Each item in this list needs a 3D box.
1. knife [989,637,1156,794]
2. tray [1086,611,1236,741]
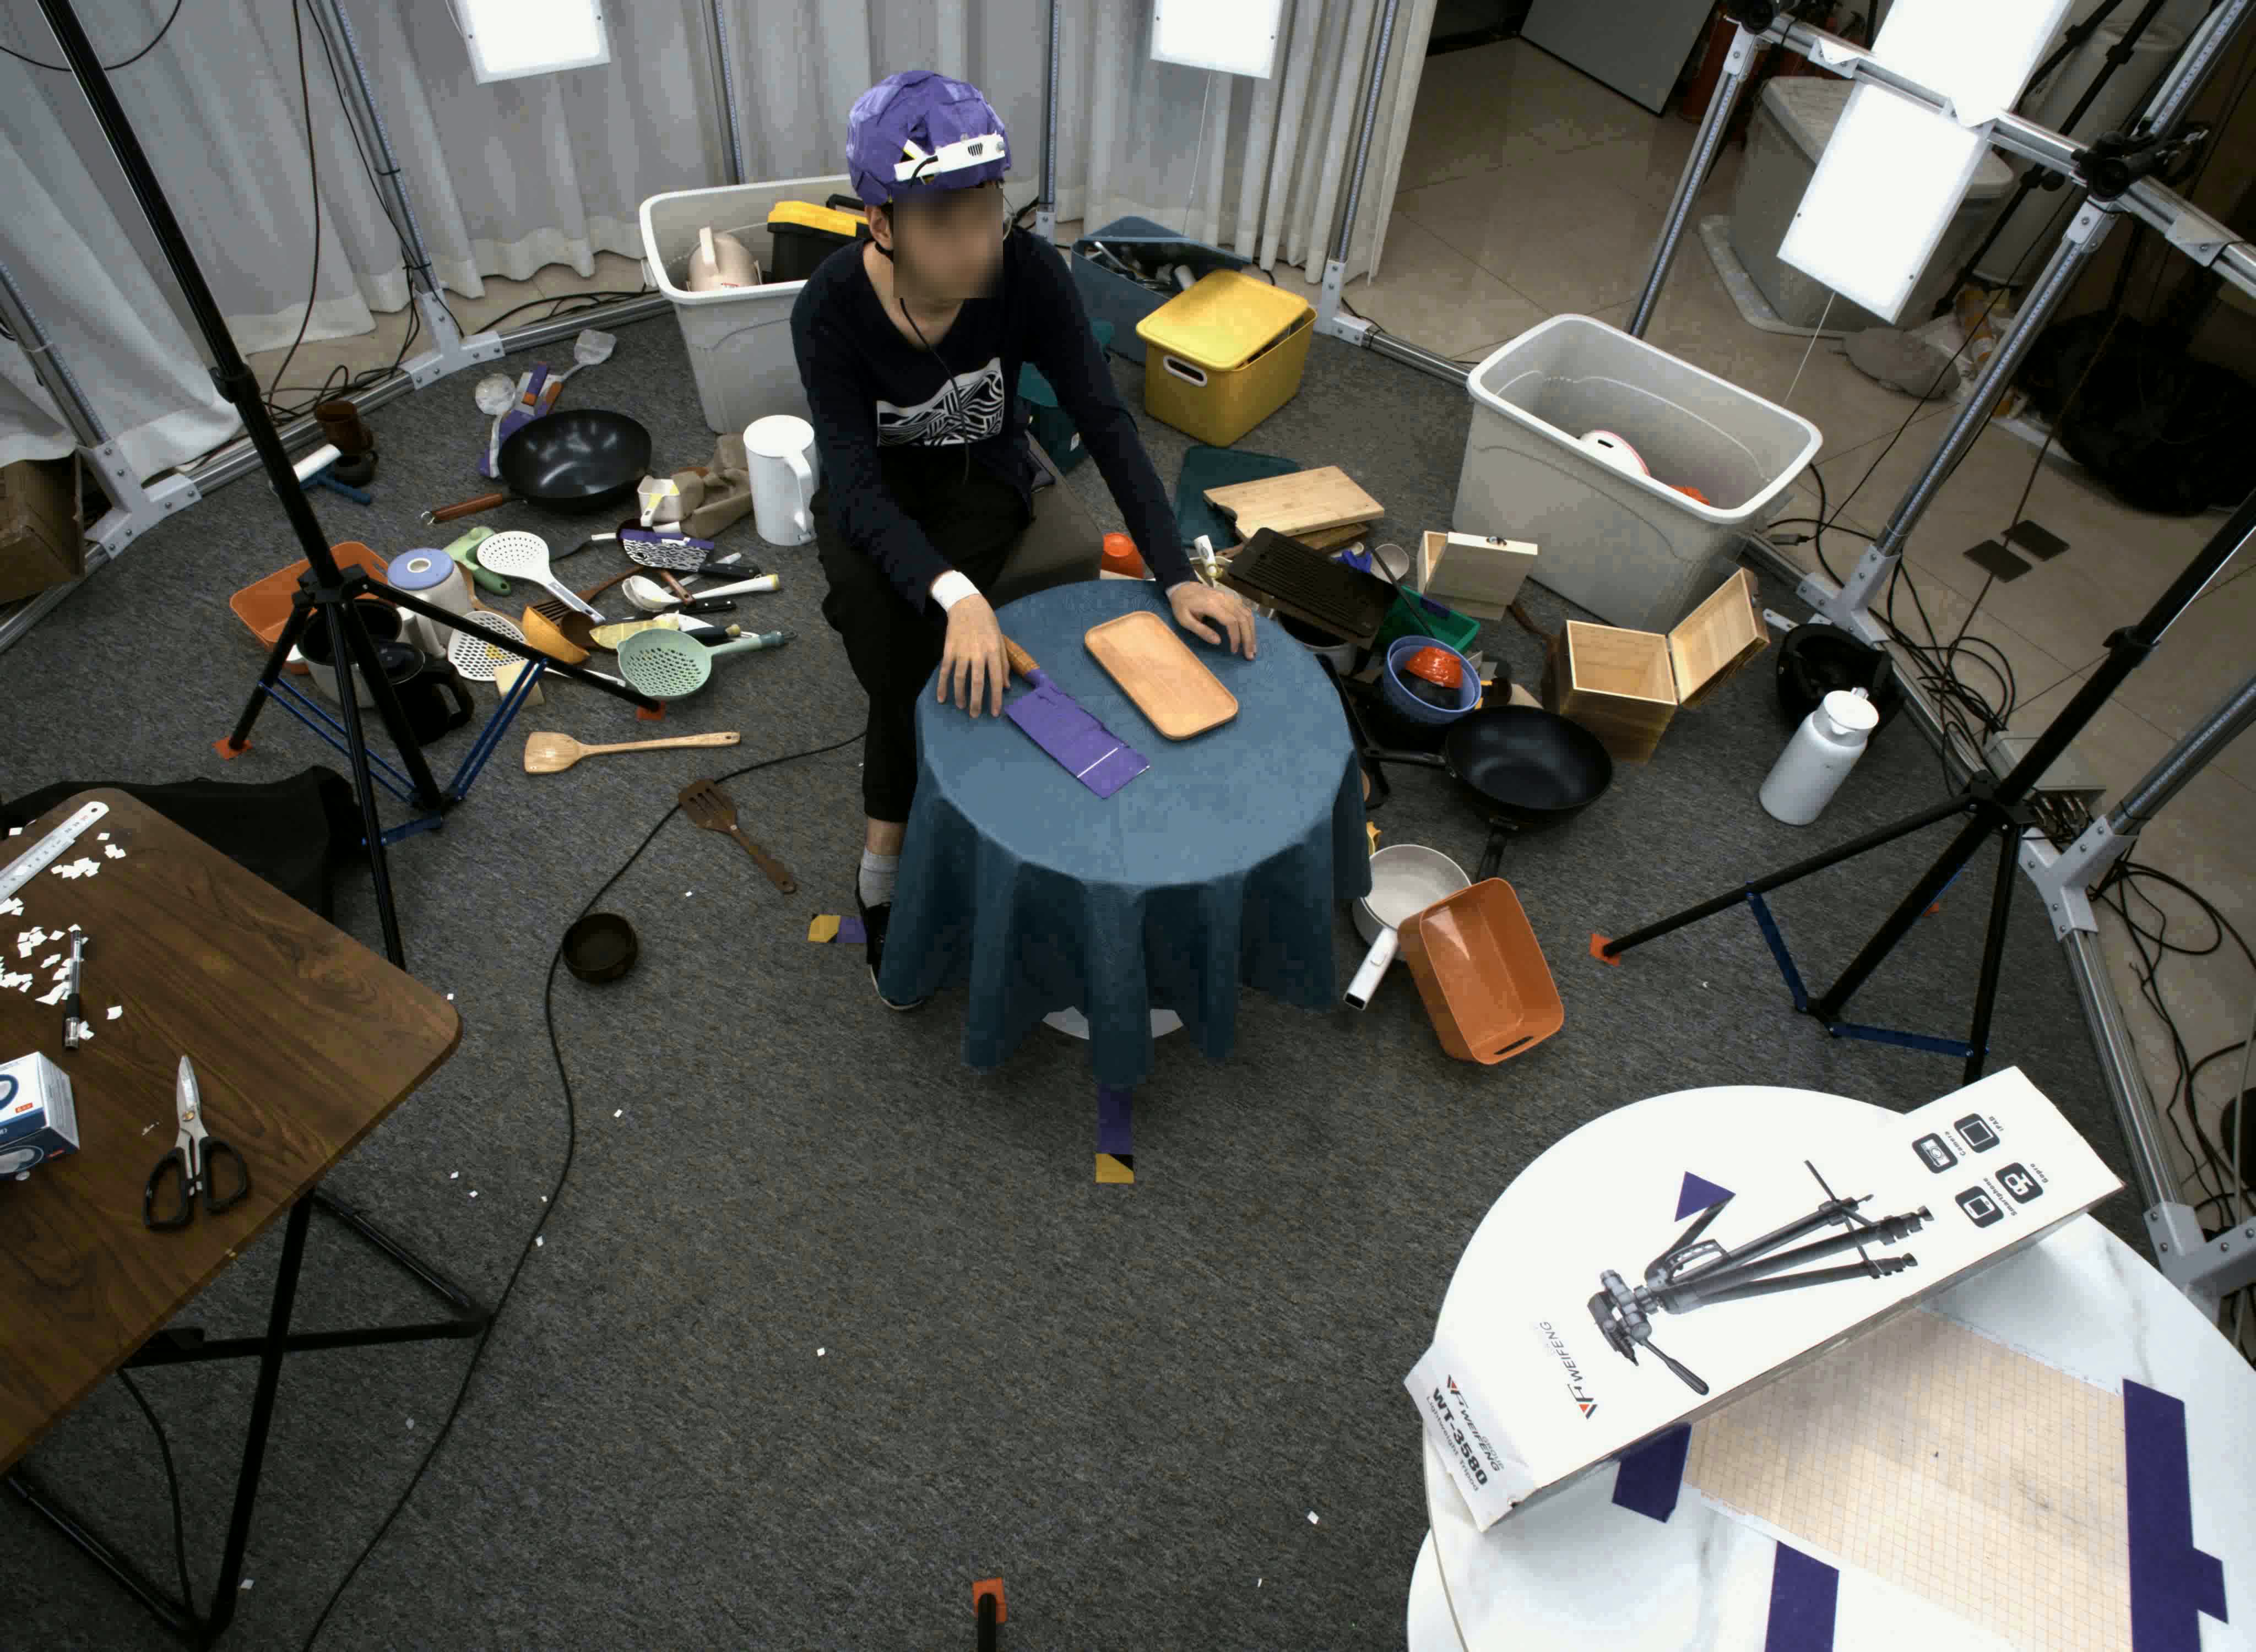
[{"bbox_3d":[-0.104,-0.157,1.779,0.105,0.031,0.320,-34,60,-29],"label":"knife"},{"bbox_3d":[0.045,-0.219,1.849,0.131,0.022,0.256,-23,55,-19],"label":"tray"}]
